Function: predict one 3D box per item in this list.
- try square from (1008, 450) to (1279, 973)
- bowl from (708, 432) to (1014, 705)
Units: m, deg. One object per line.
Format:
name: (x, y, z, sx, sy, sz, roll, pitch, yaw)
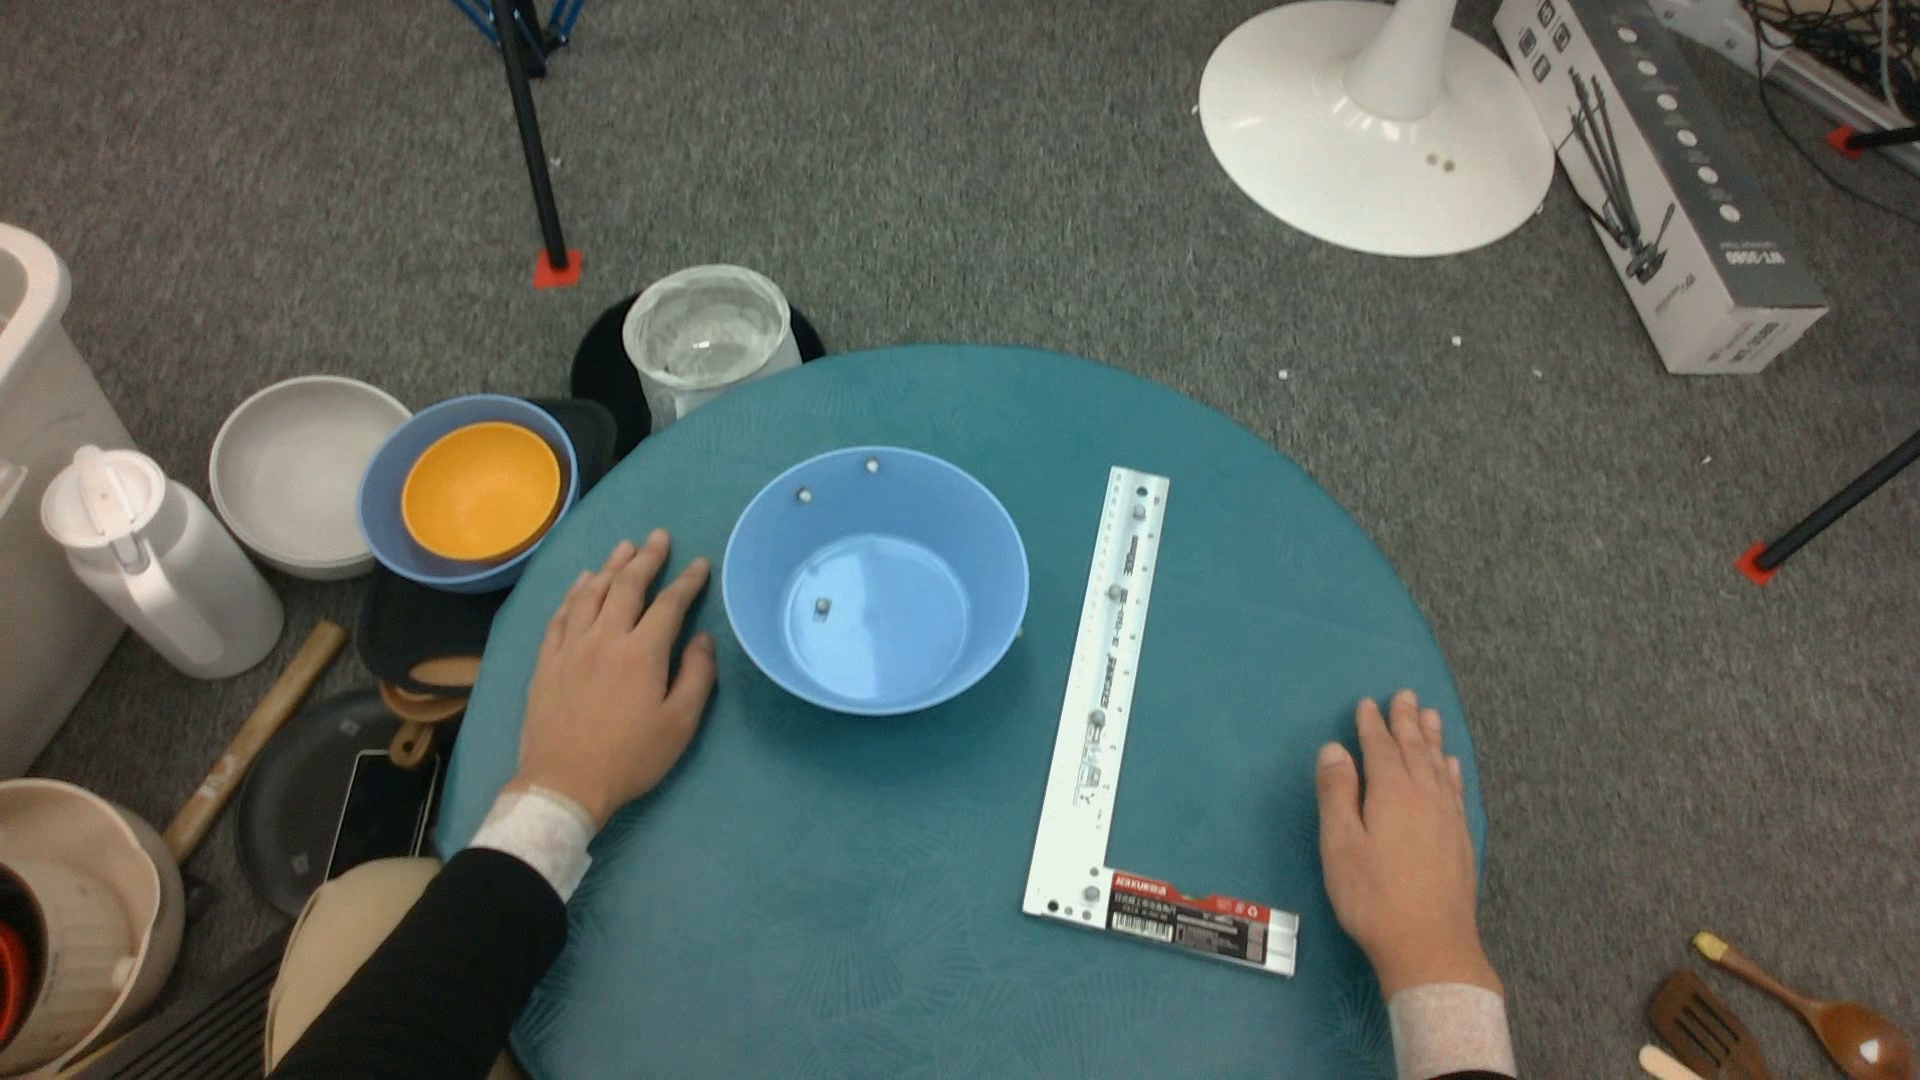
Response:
try square: (0.130, 0.090, 0.836, 0.152, 0.016, 0.314, 15, 59, -2)
bowl: (-0.058, 0.027, 0.813, 0.176, 0.070, 0.177, 3, 61, -5)
